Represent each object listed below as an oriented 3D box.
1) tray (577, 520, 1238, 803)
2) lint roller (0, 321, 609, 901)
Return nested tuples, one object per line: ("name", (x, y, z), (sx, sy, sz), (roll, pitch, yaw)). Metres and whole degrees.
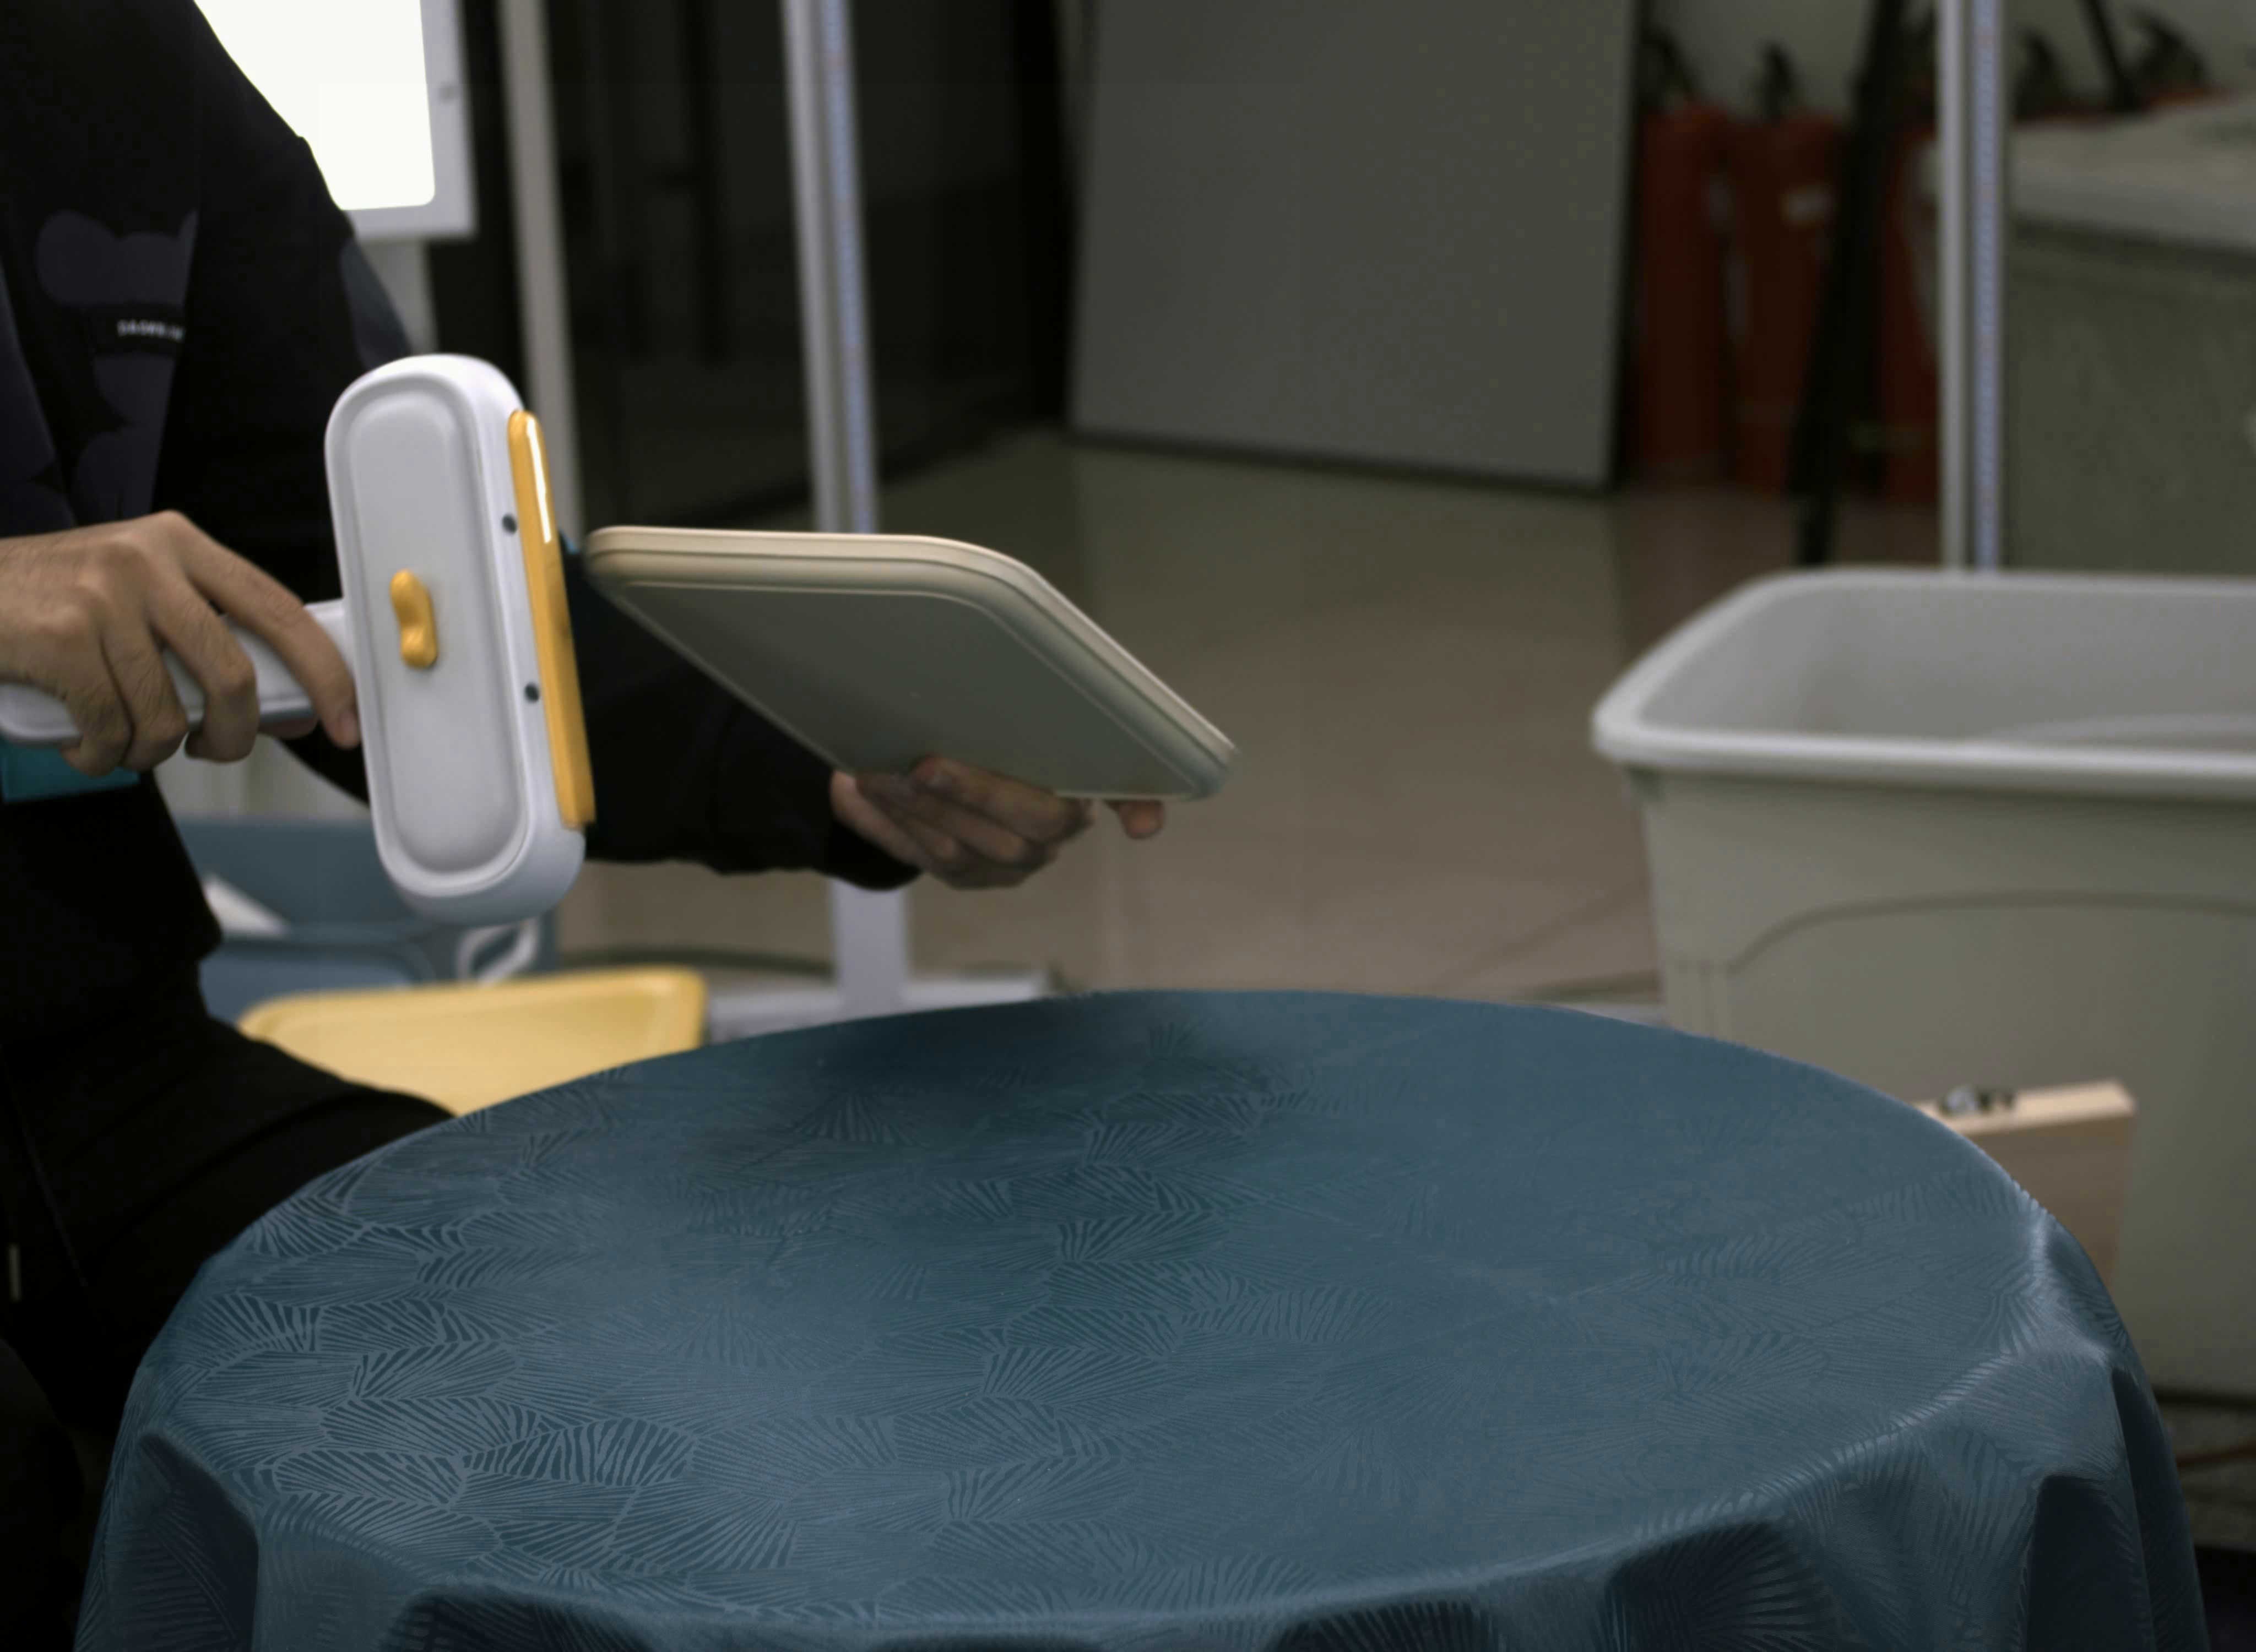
("tray", (-0.075, -0.053, 1.883), (0.172, 0.017, 0.236), (1, -19, 27))
("lint roller", (-0.278, -0.058, 1.796), (0.191, 0.195, 0.074), (-14, -6, 7))
